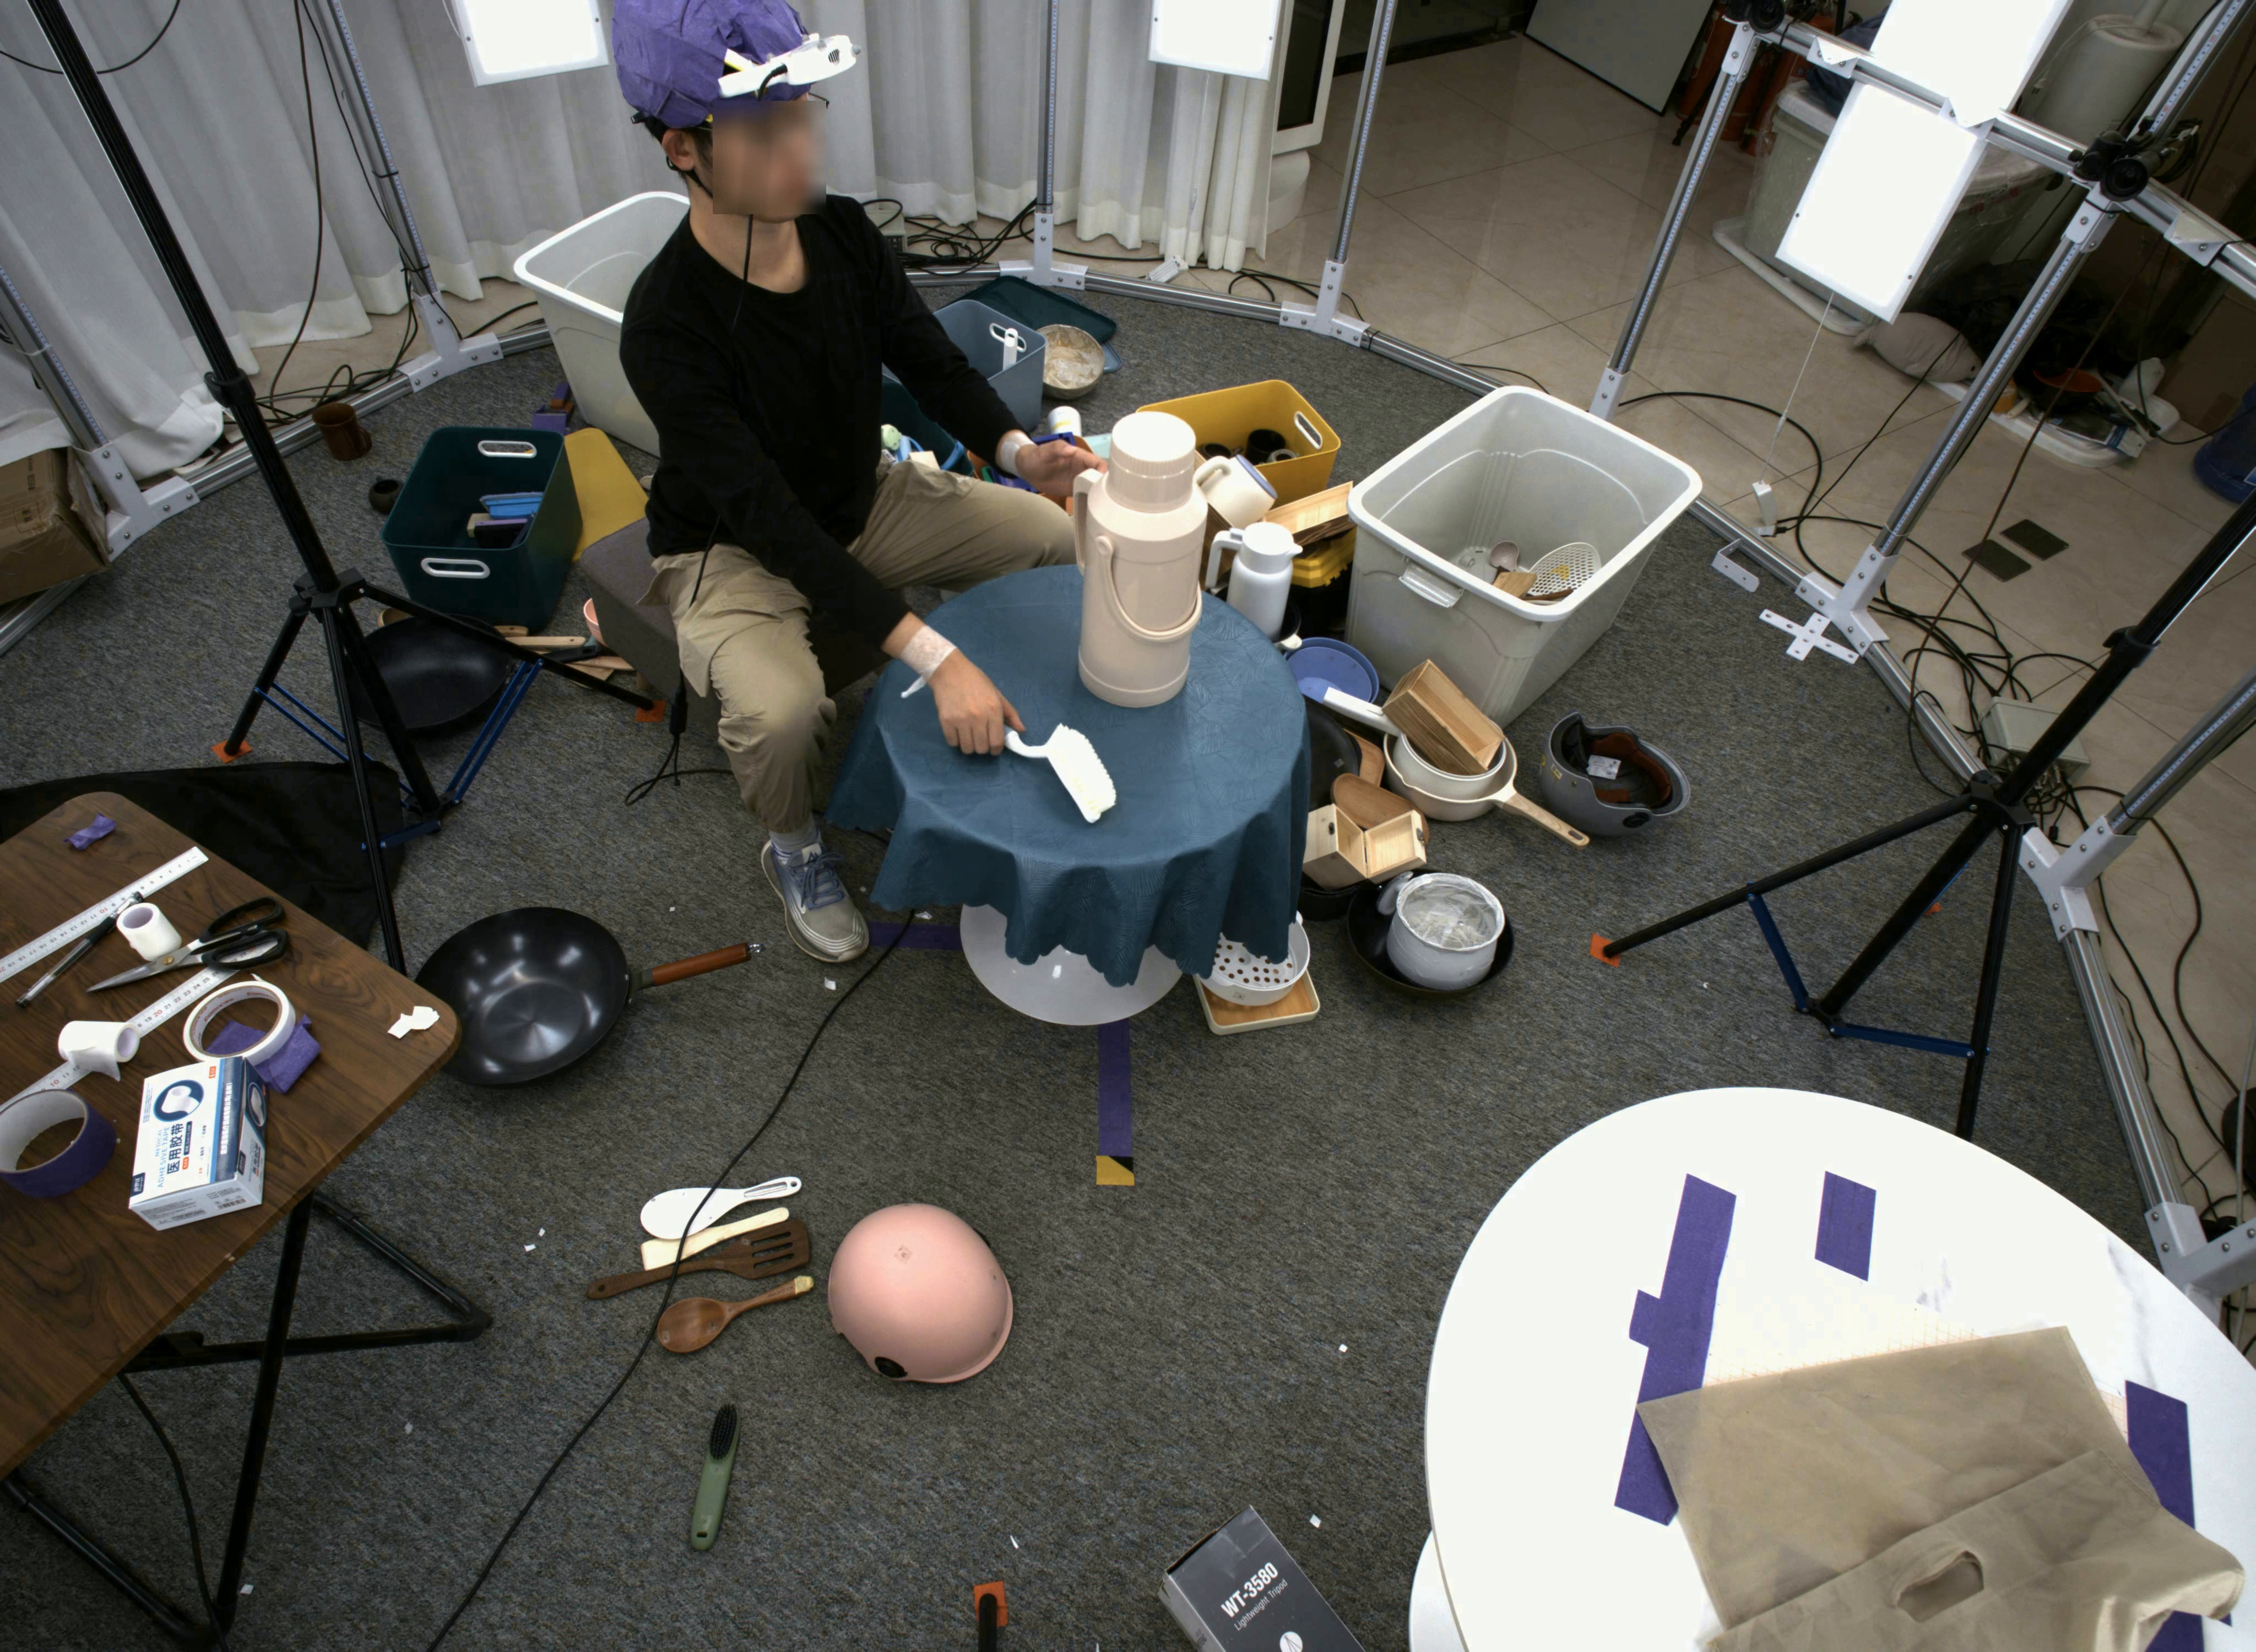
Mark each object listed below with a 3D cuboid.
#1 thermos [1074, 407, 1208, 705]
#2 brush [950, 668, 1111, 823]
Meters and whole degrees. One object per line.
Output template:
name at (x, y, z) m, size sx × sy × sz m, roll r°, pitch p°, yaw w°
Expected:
thermos at (0.010, -0.364, 1.730) m, size 0.209 × 0.396 × 0.177 m, roll 34°, pitch 57°, yaw 22°
brush at (-0.127, -0.136, 1.727) m, size 0.085 × 0.081 × 0.331 m, roll -31°, pitch 60°, yaw -21°
